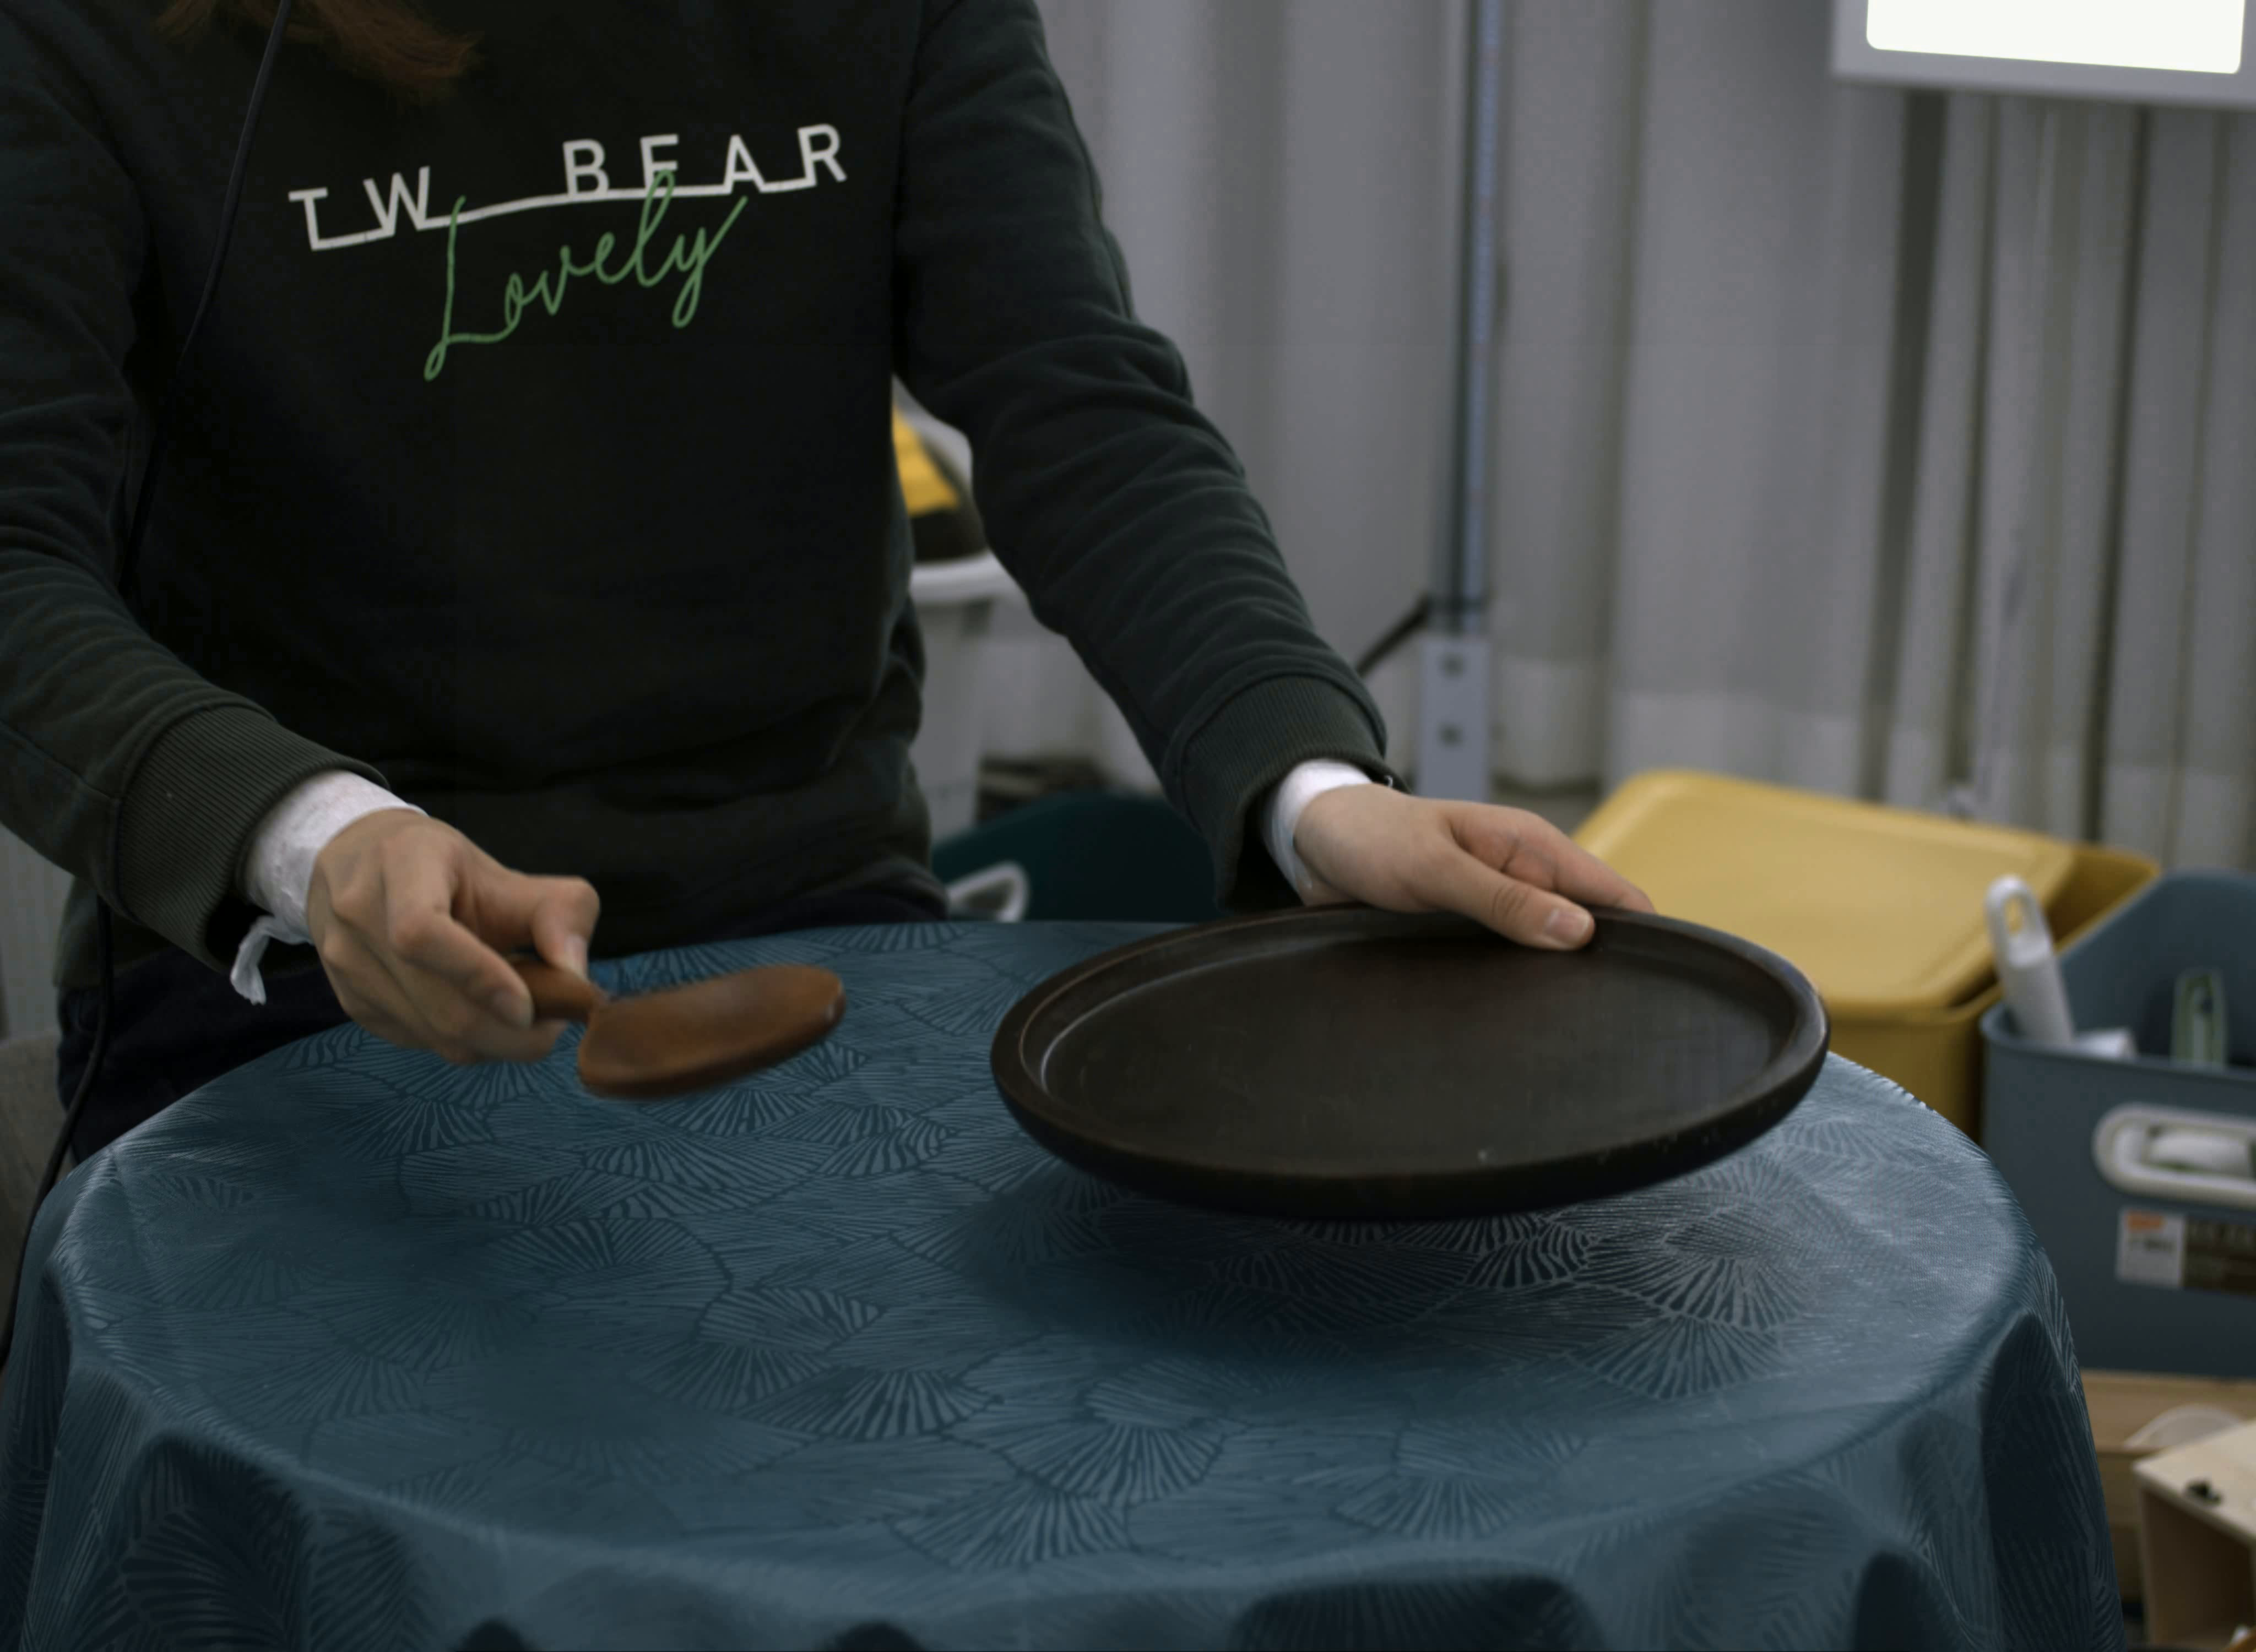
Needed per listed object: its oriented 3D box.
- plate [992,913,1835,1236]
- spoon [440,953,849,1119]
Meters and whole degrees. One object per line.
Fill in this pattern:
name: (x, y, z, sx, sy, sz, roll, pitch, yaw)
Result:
plate: (0.085, 0.071, 1.582, 0.254, 0.029, 0.253, -1, 18, 1)
spoon: (-0.144, 0.056, 1.491, 0.075, 0.017, 0.213, -27, 18, -26)
